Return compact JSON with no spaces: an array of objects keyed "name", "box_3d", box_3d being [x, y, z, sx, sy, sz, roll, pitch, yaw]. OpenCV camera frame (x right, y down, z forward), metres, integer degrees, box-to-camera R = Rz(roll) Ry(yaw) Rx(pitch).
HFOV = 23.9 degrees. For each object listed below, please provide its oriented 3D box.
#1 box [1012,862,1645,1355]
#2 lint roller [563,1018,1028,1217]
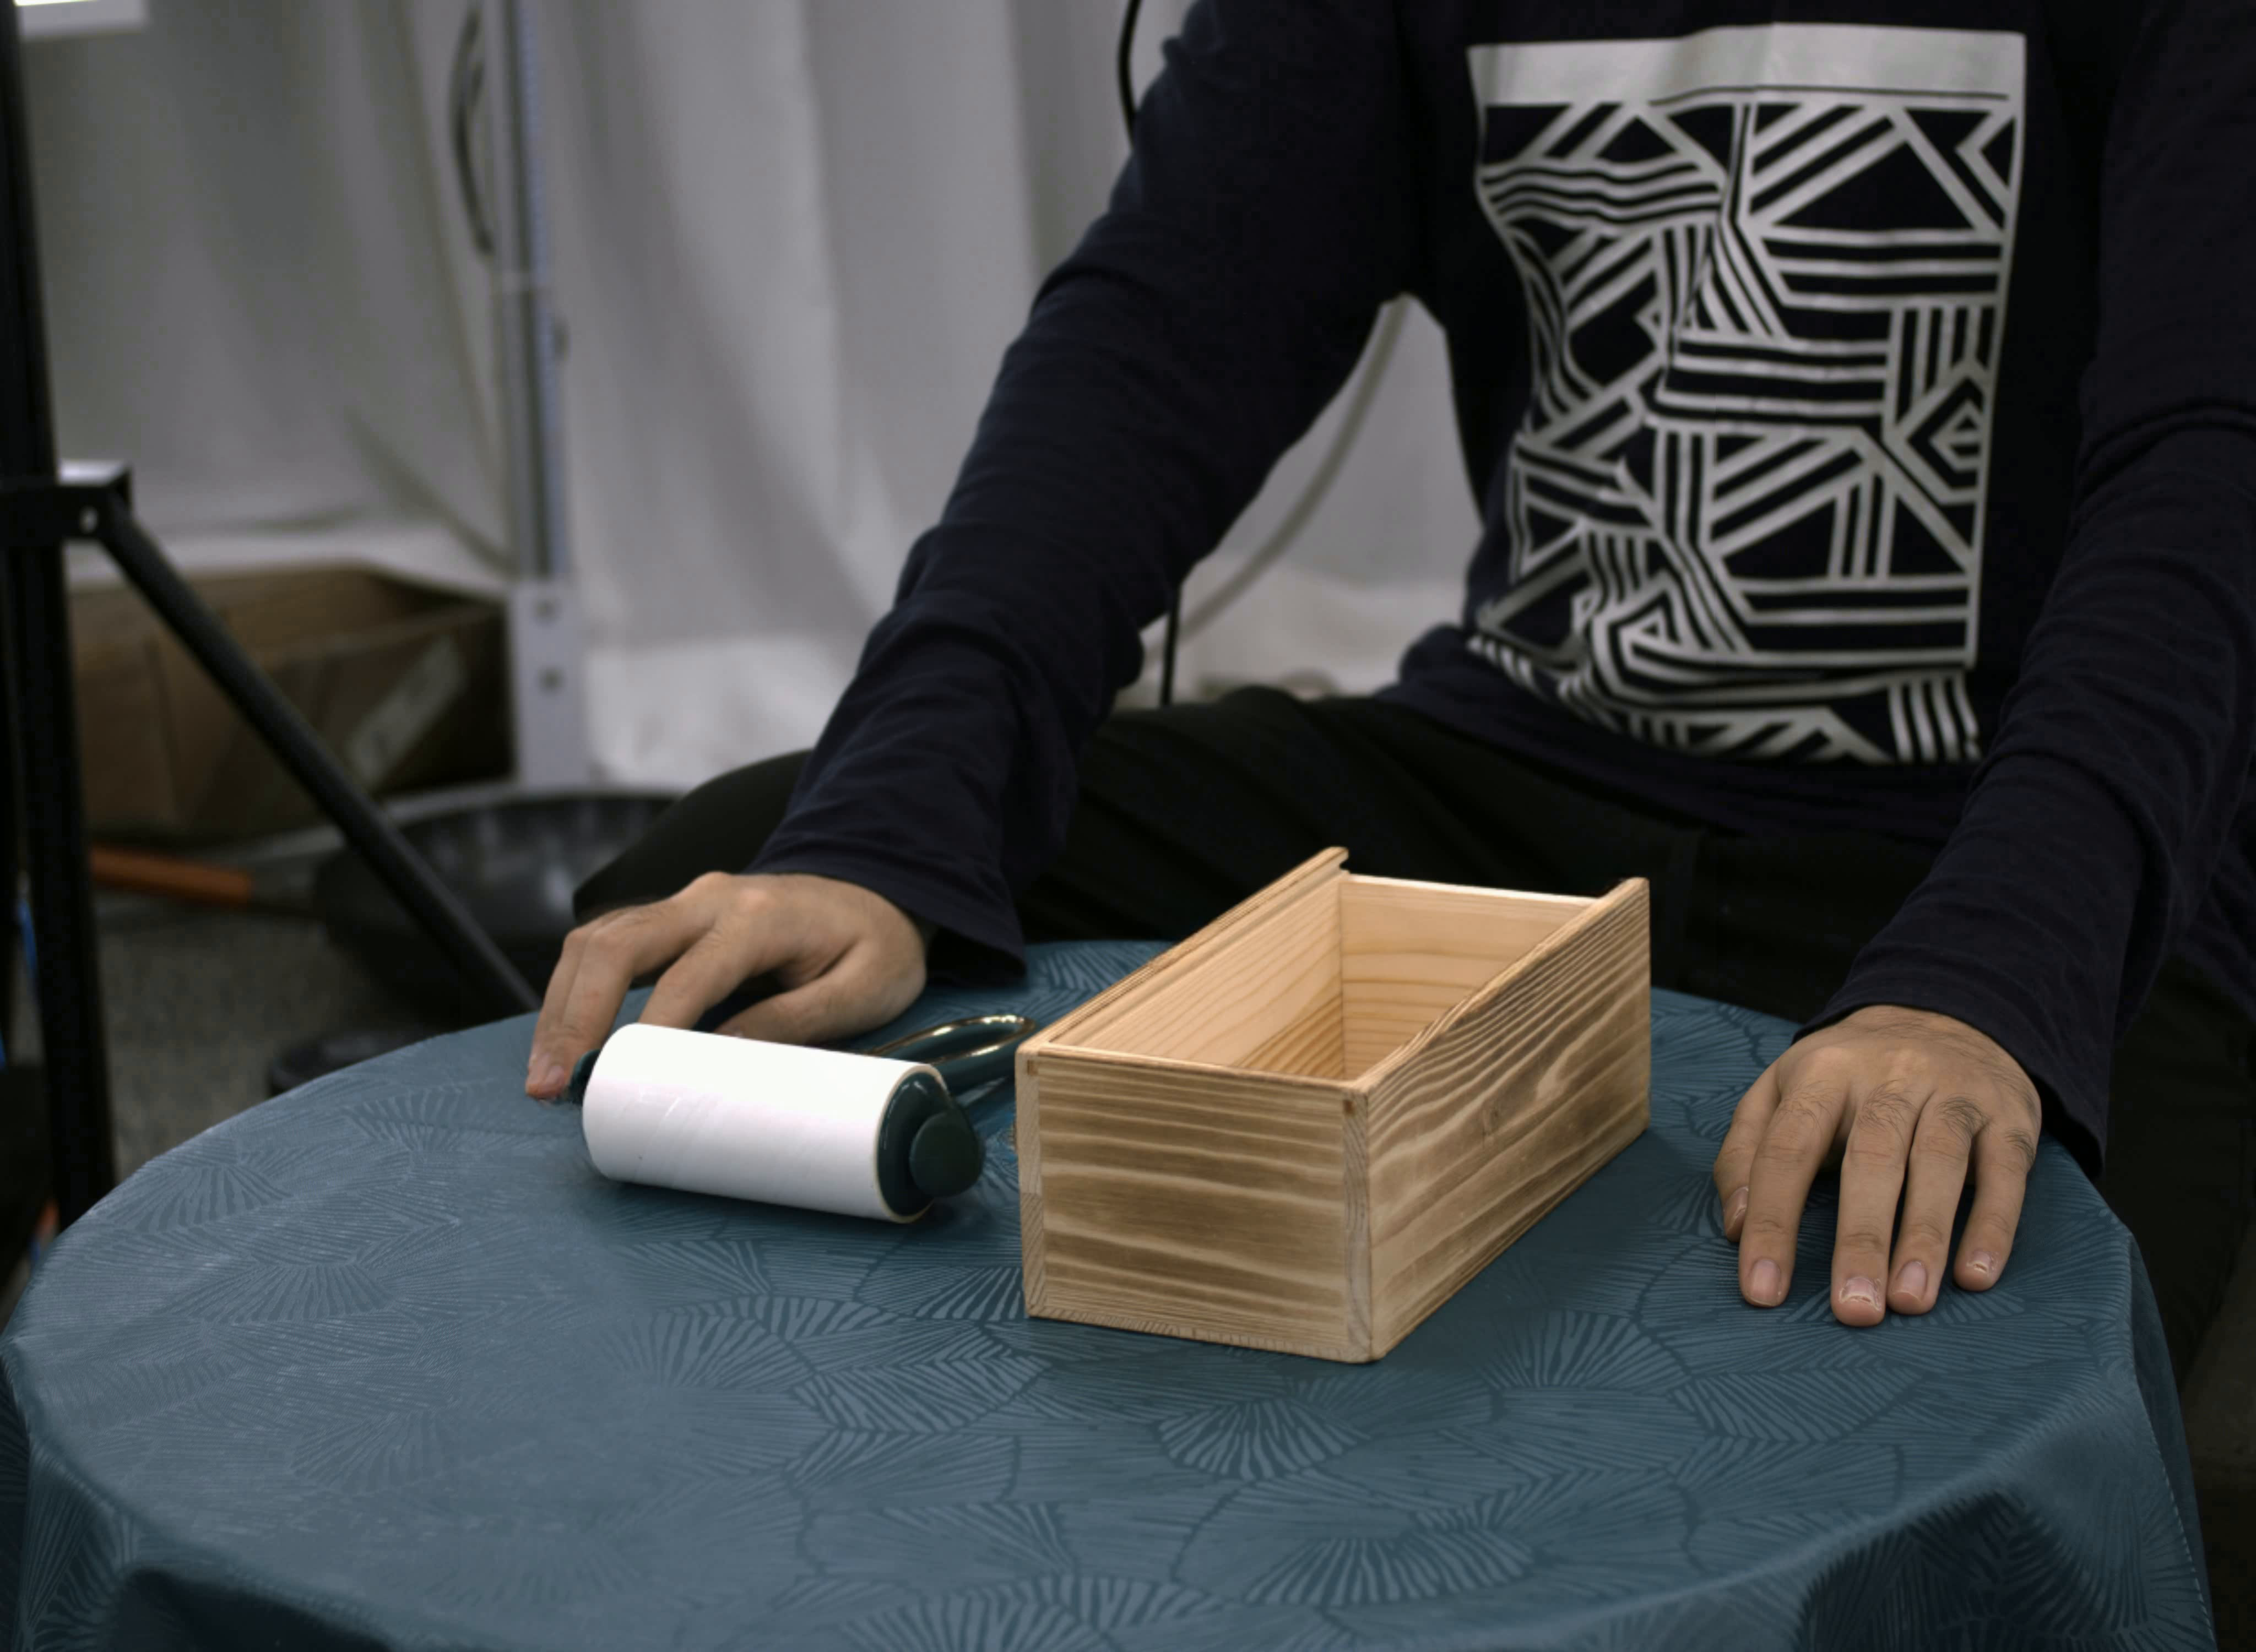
[{"name":"box","box_3d":[0.062,0.076,1.519,0.109,0.080,0.208,4,15,26]},{"name":"lint roller","box_3d":[-0.076,0.074,1.623,0.136,0.048,0.177,6,13,28]}]
